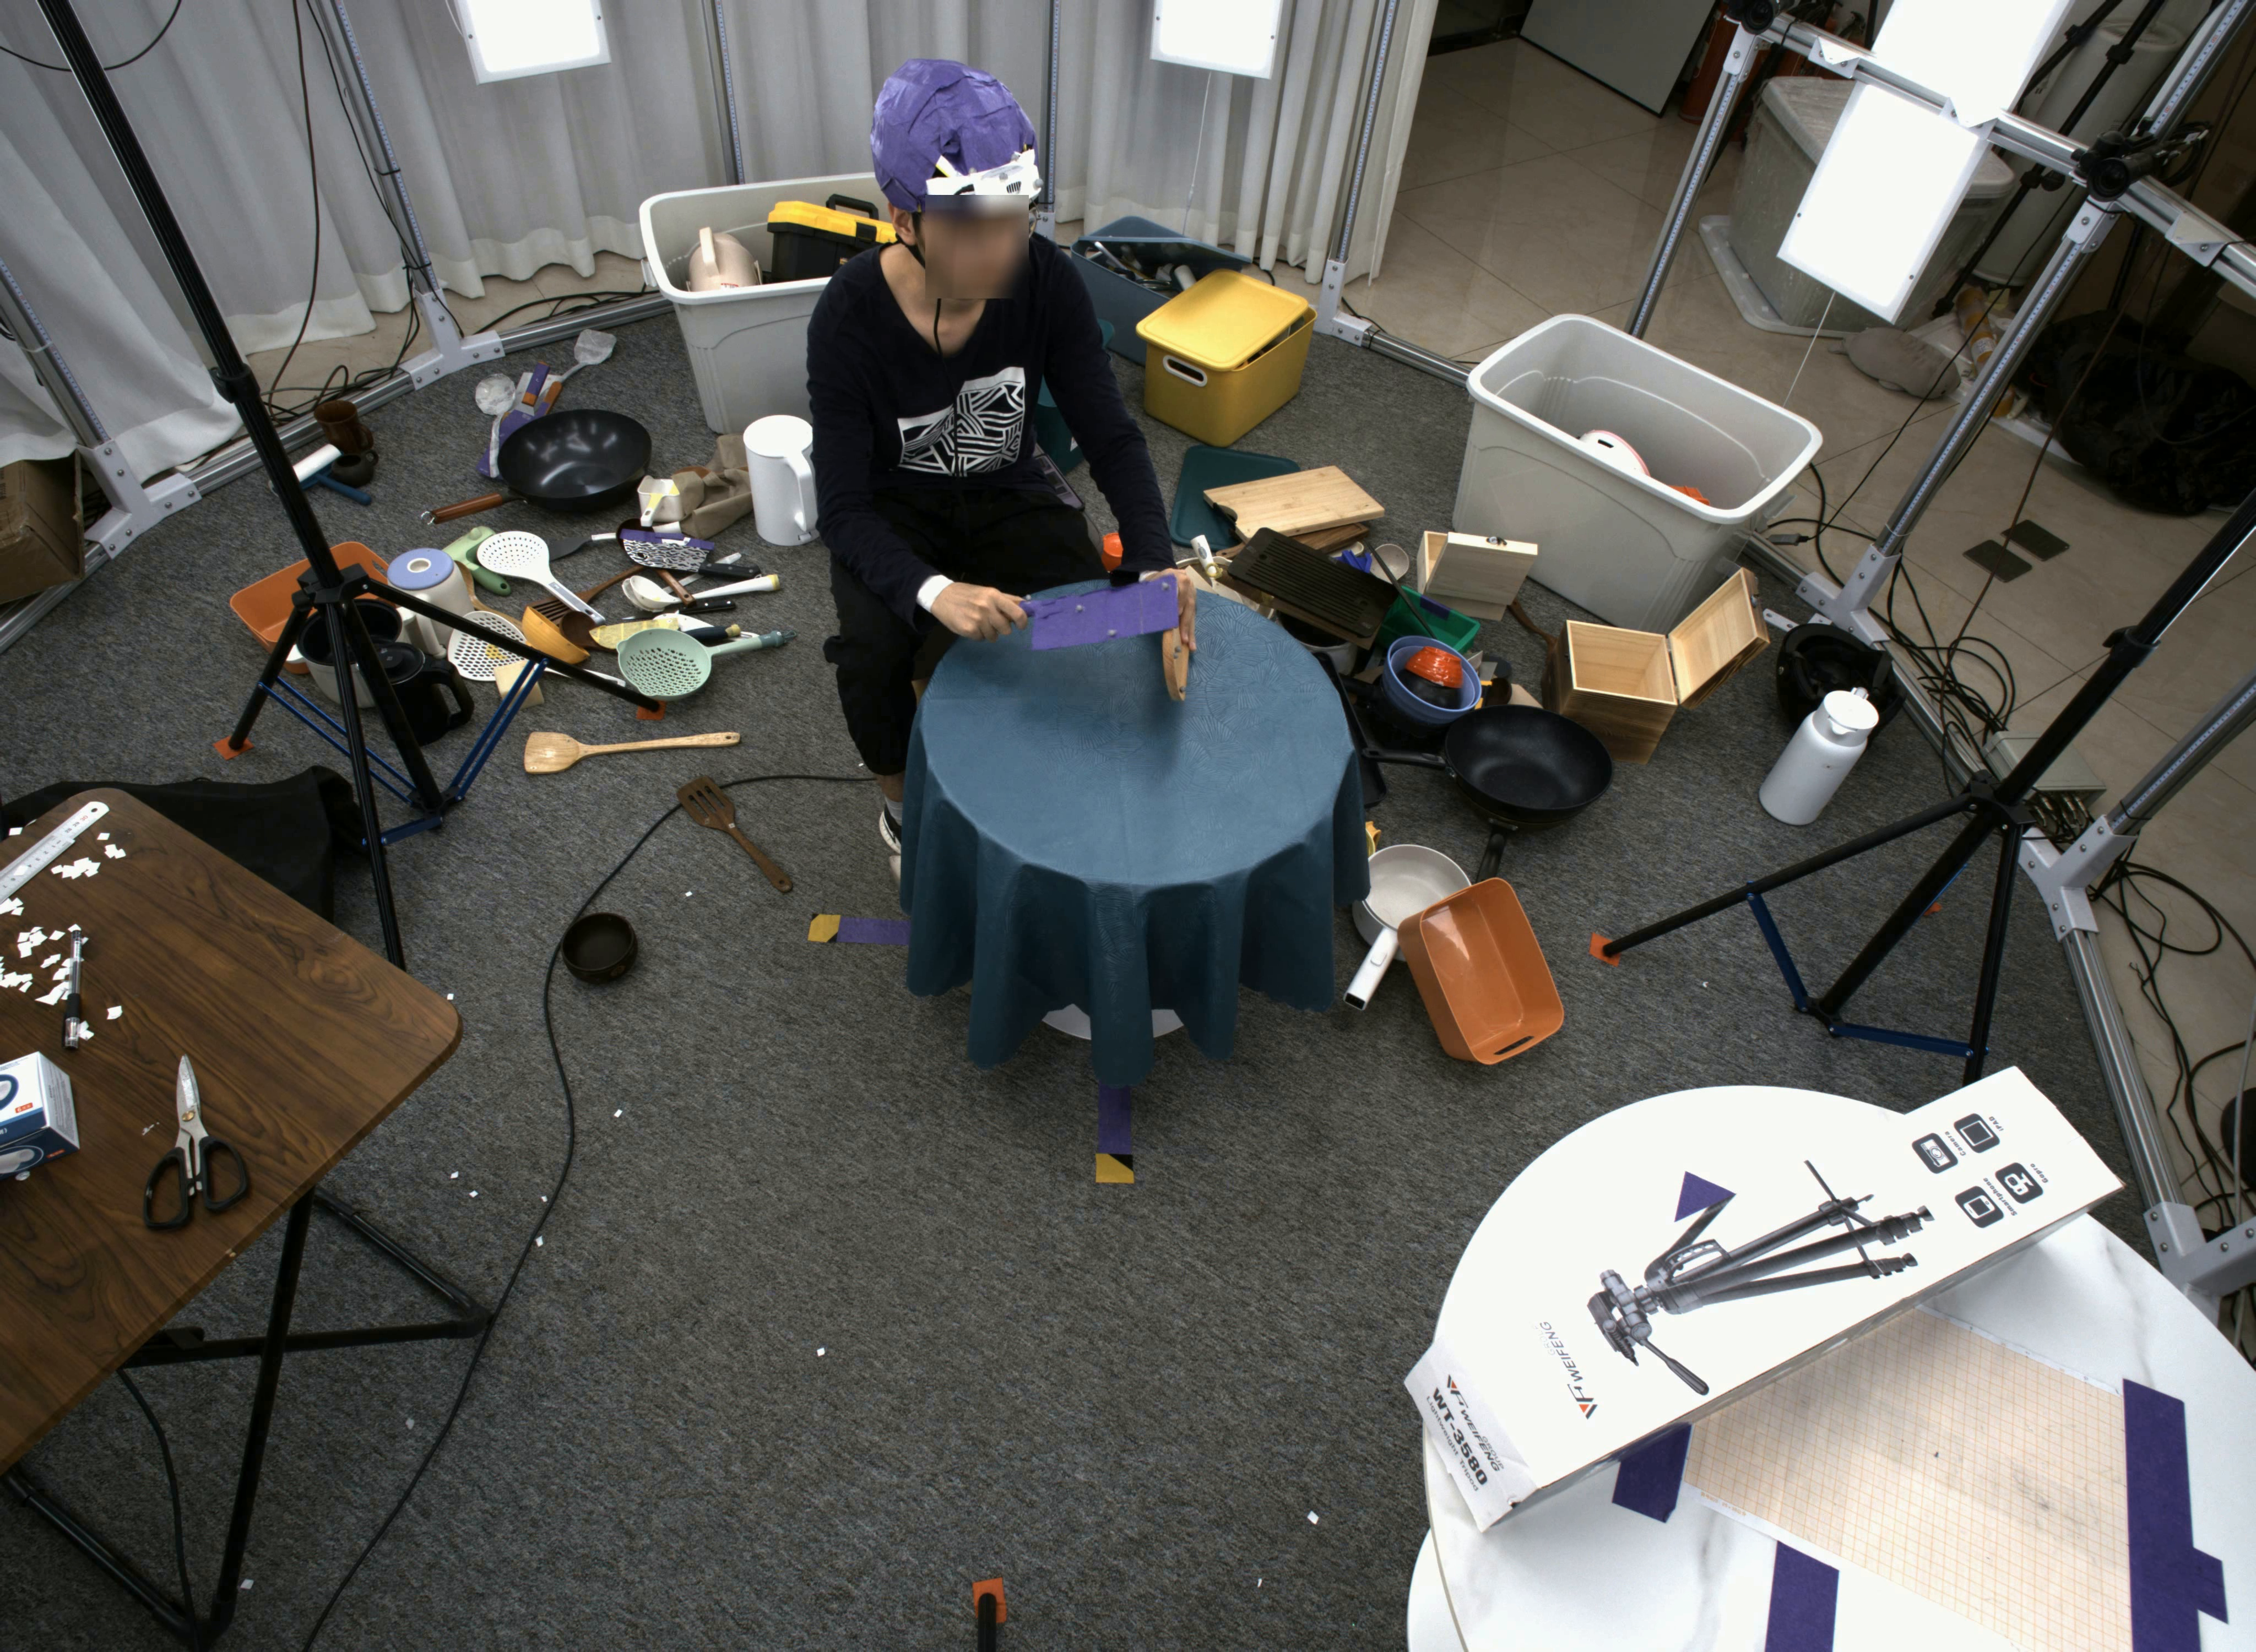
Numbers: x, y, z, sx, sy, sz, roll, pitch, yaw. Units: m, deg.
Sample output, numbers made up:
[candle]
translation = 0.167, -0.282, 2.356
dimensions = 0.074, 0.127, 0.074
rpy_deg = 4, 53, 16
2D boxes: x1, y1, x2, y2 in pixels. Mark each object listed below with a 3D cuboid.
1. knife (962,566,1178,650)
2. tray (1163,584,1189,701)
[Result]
[knife]
translation = -0.083, -0.288, 1.764
dimensions = 0.315, 0.031, 0.106
rpy_deg = -10, 54, 18
[tray]
translation = 0.068, -0.259, 1.796
dimensions = 0.020, 0.099, 0.236
rpy_deg = -8, 34, 8
